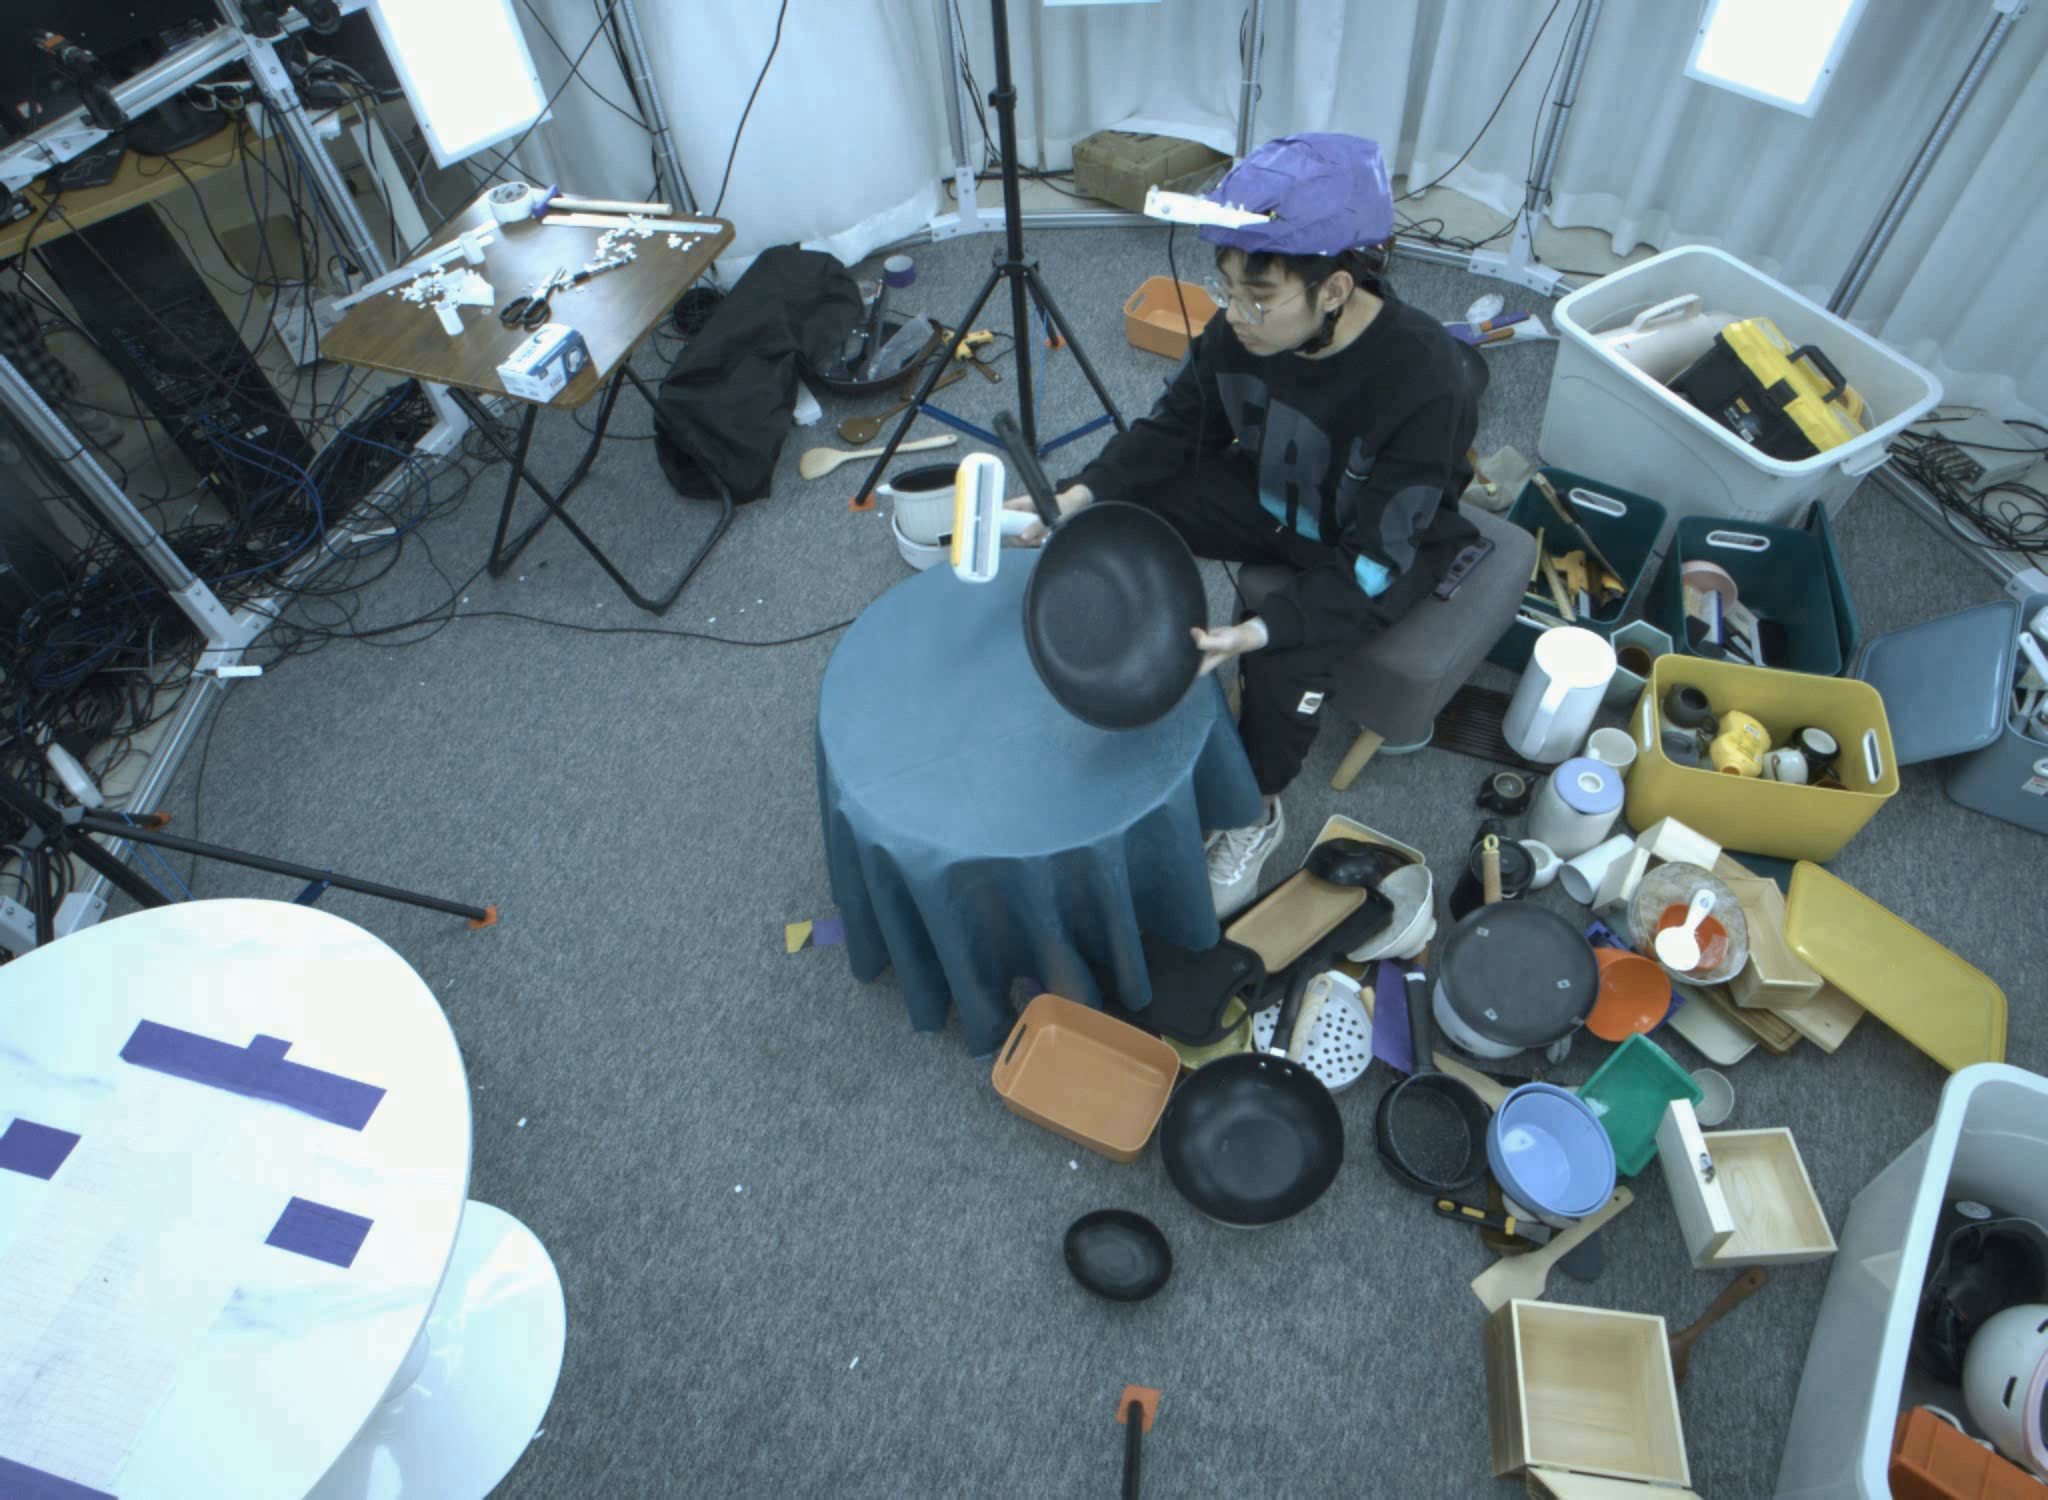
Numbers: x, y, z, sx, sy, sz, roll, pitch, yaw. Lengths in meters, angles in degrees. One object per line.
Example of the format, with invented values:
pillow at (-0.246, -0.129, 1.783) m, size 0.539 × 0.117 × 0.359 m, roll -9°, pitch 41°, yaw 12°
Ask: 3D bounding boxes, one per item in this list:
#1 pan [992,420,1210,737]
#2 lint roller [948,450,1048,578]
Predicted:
pan at (0.071, -0.233, 1.637) m, size 0.311 × 0.485 × 0.109 m, roll -50°, pitch 28°, yaw -24°
lint roller at (-0.027, -0.351, 1.865) m, size 0.196 × 0.072 × 0.193 m, roll 3°, pitch 93°, yaw -35°
